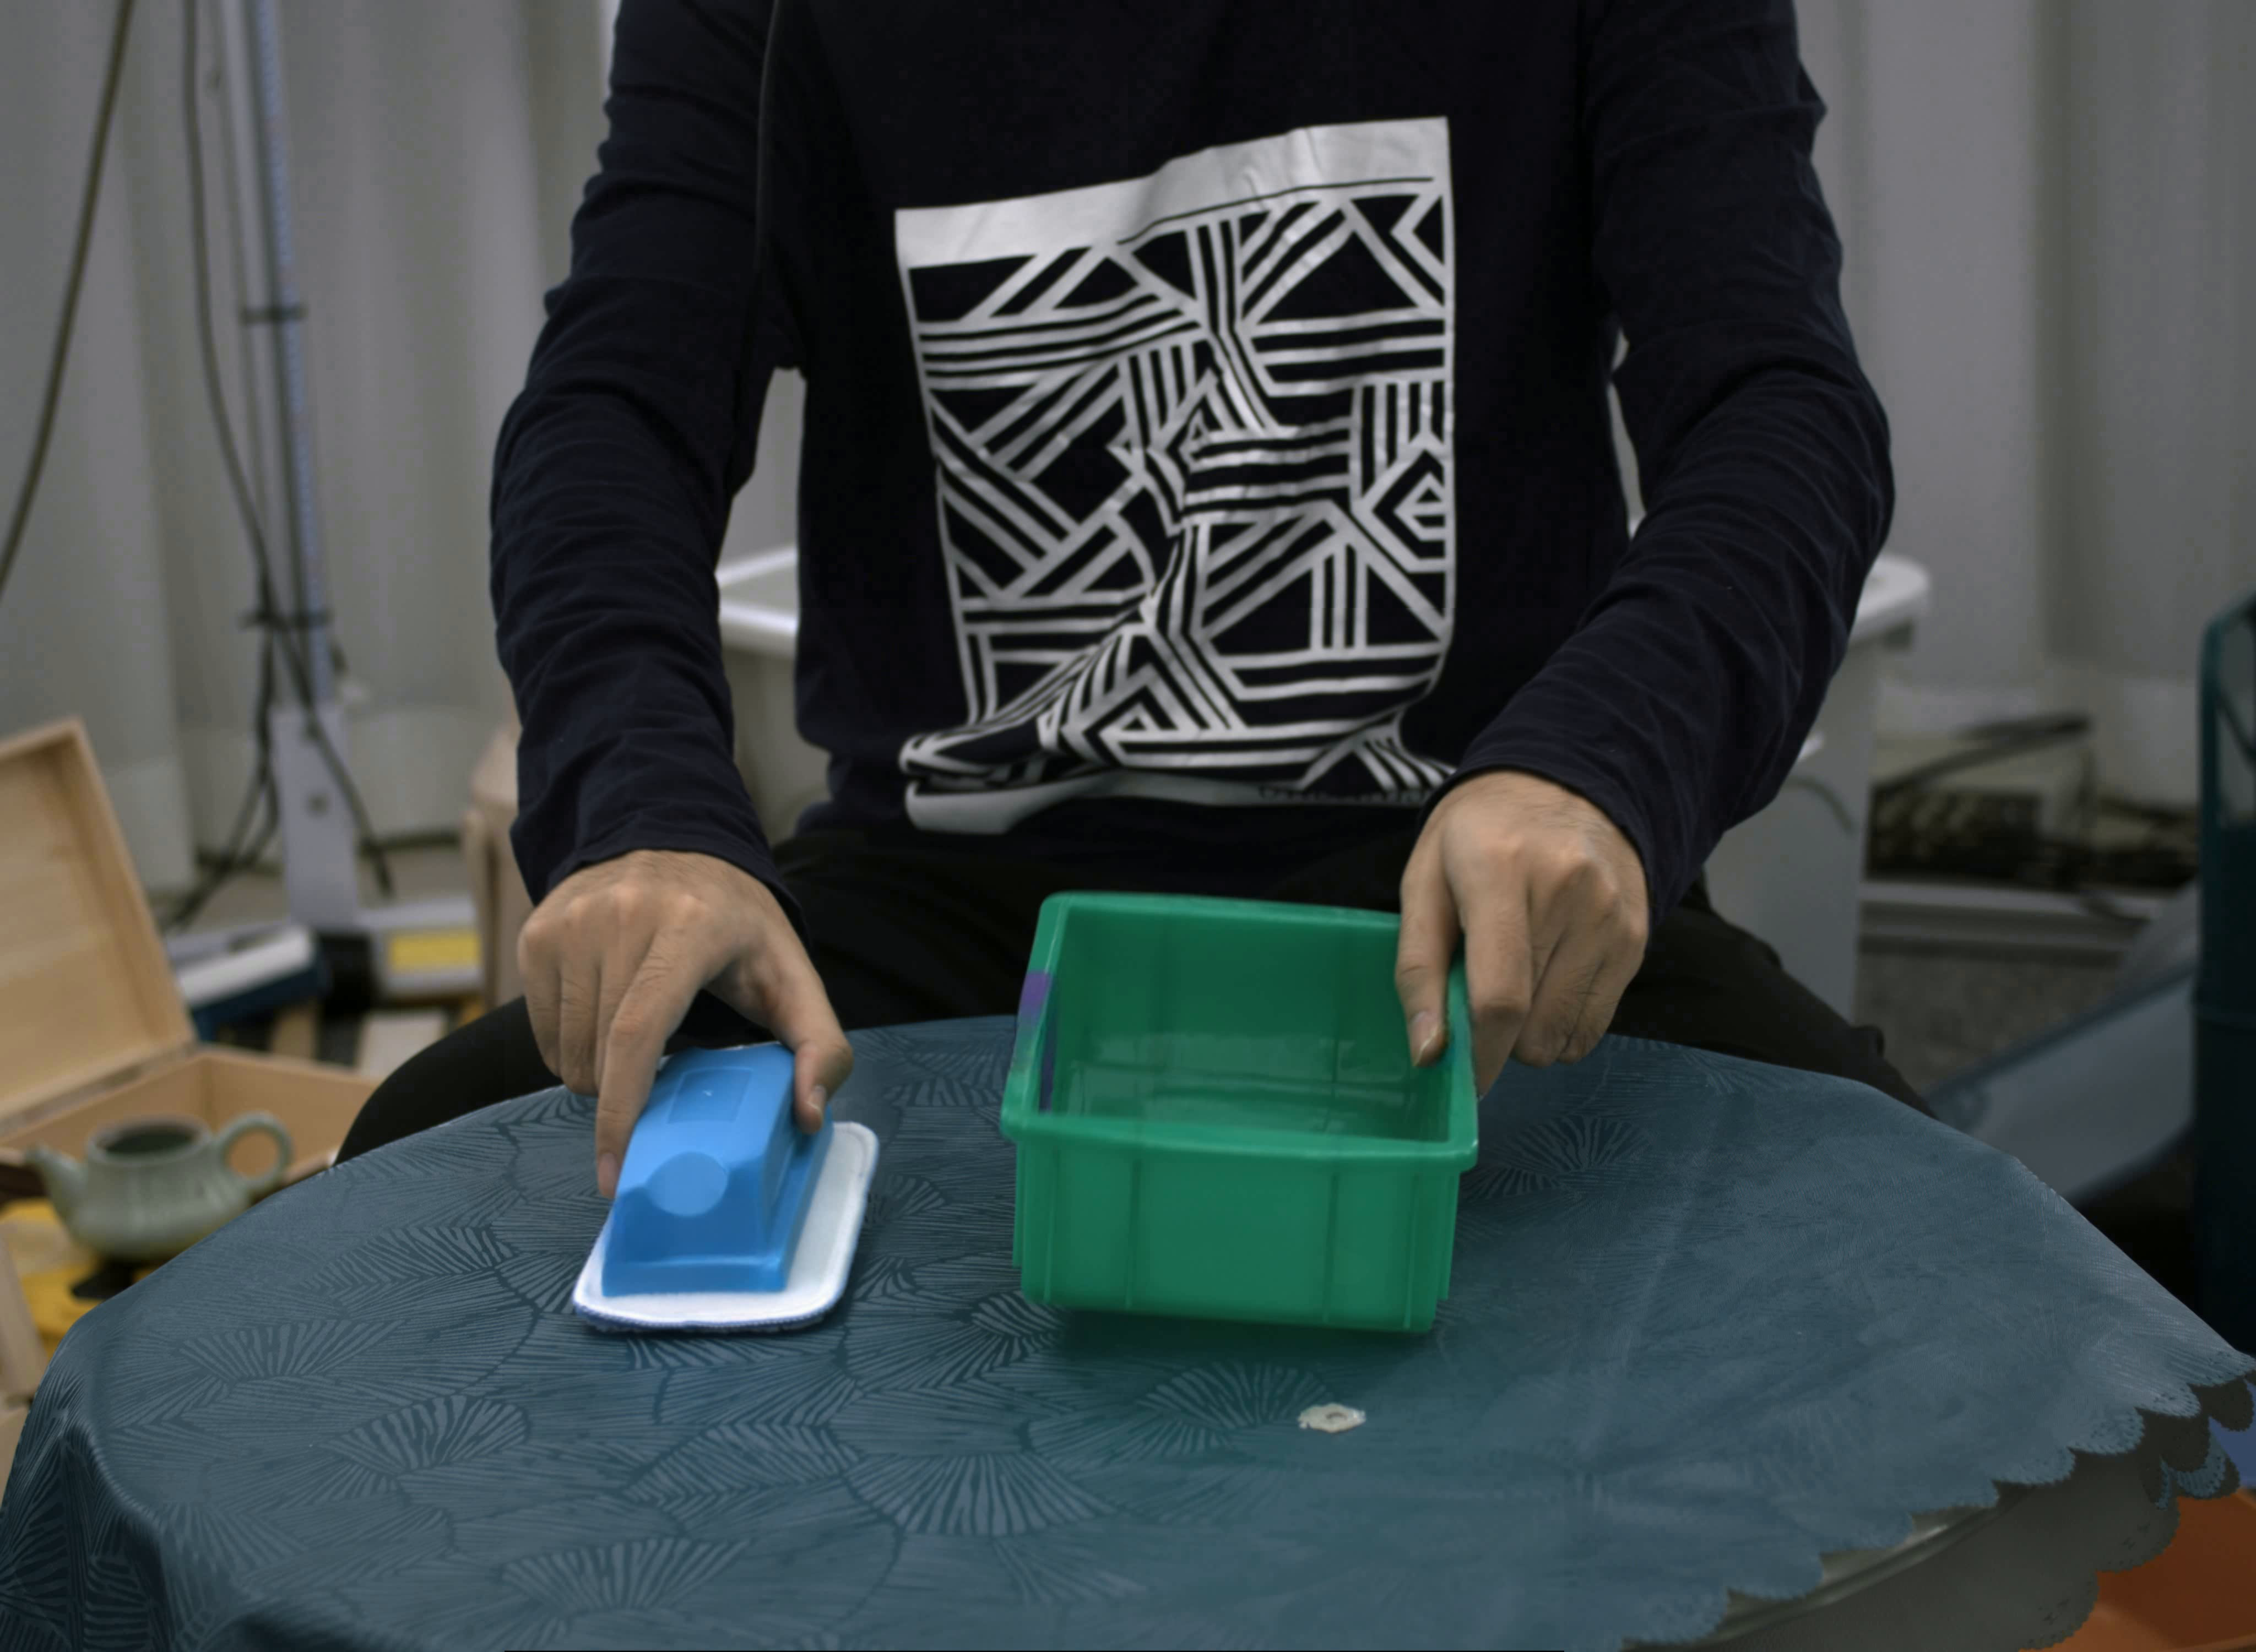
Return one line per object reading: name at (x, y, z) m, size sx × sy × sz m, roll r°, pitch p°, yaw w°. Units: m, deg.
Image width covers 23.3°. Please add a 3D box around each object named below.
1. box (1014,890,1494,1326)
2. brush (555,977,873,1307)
box at (0.037, 0.083, 1.640) m, size 0.138 × 0.065 × 0.212 m, roll 3°, pitch 18°, yaw 1°
brush at (-0.127, 0.091, 1.665) m, size 0.083 × 0.055 × 0.145 m, roll -3°, pitch 29°, yaw 7°
